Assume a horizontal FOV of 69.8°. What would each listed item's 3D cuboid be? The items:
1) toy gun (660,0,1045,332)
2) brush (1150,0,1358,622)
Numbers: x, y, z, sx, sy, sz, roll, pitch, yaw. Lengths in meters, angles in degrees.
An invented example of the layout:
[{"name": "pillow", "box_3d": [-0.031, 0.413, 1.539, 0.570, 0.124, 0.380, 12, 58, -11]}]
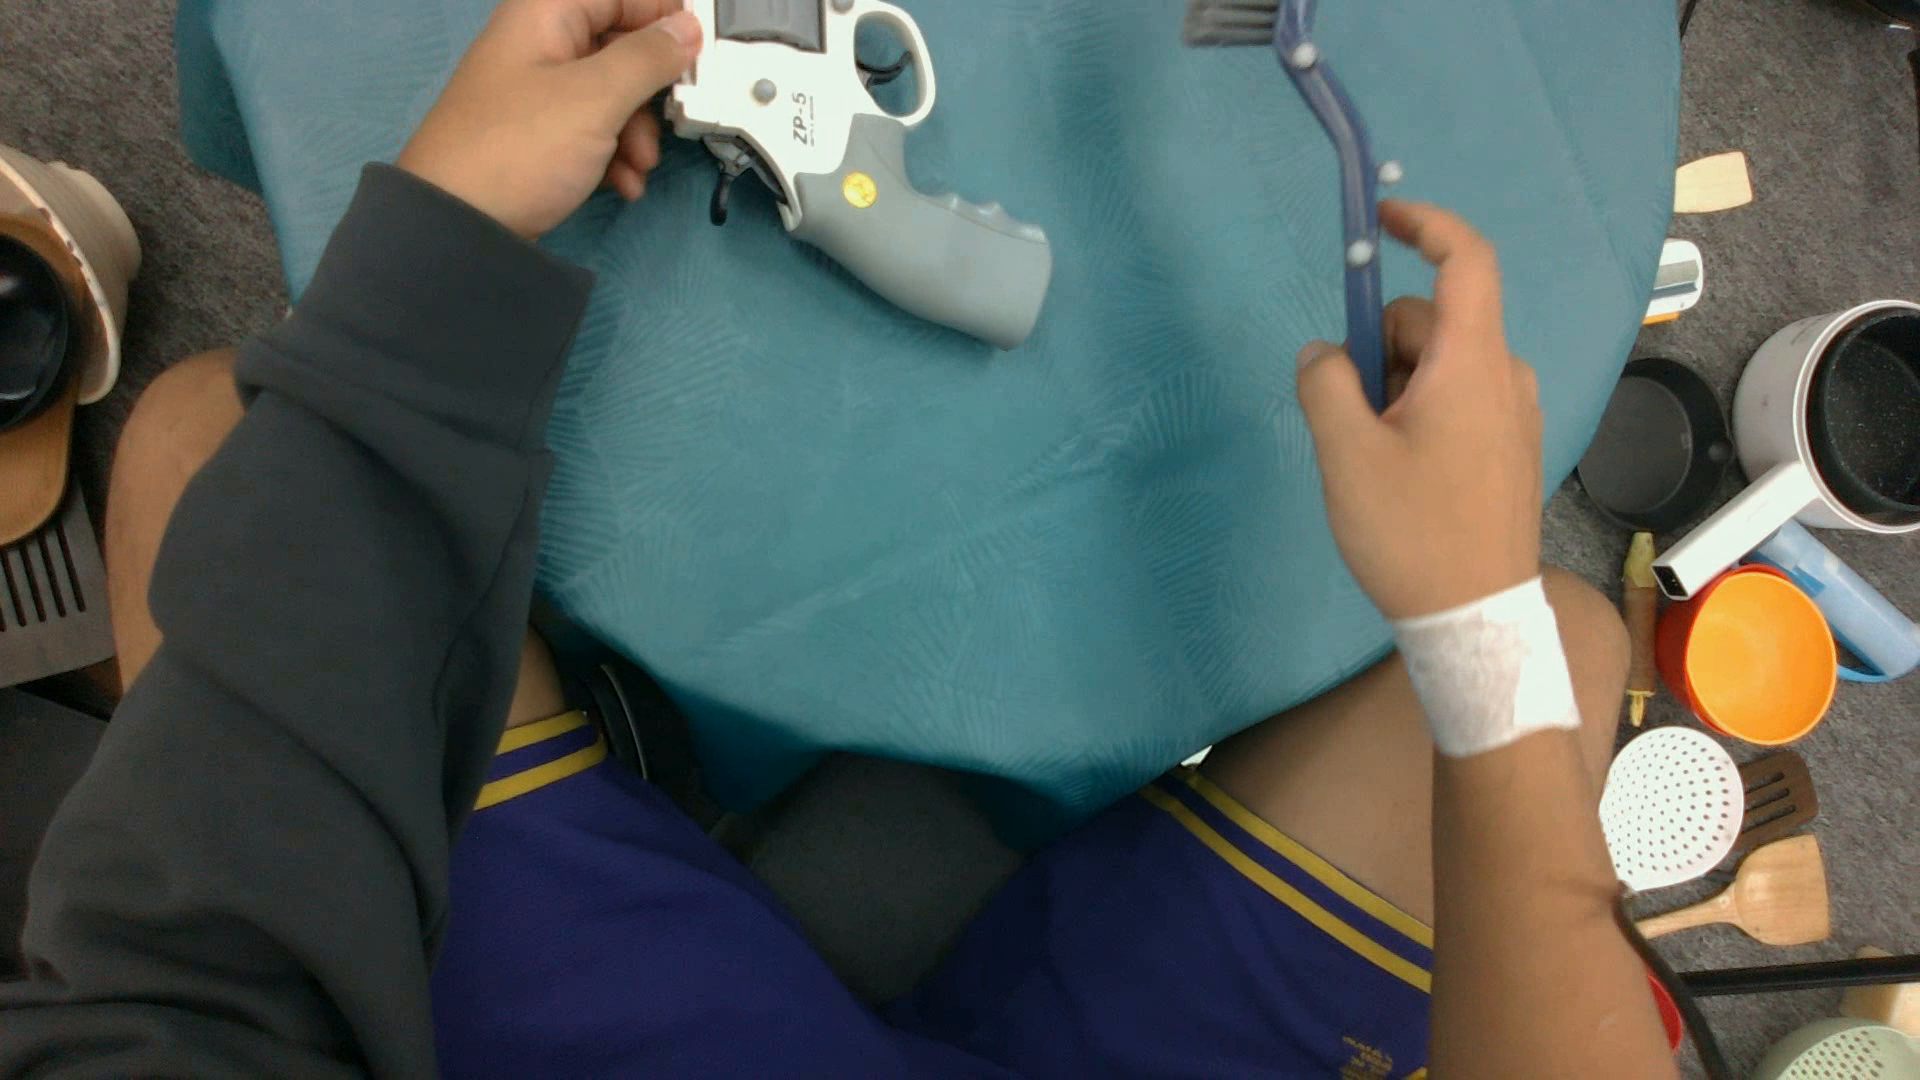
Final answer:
[{"name": "toy gun", "box_3d": [-0.040, -0.183, 0.511, 0.142, 0.038, 0.209, -2, 87, -27]}, {"name": "brush", "box_3d": [0.129, -0.111, 0.467, 0.095, 0.033, 0.273, -14, 94, 19]}]
